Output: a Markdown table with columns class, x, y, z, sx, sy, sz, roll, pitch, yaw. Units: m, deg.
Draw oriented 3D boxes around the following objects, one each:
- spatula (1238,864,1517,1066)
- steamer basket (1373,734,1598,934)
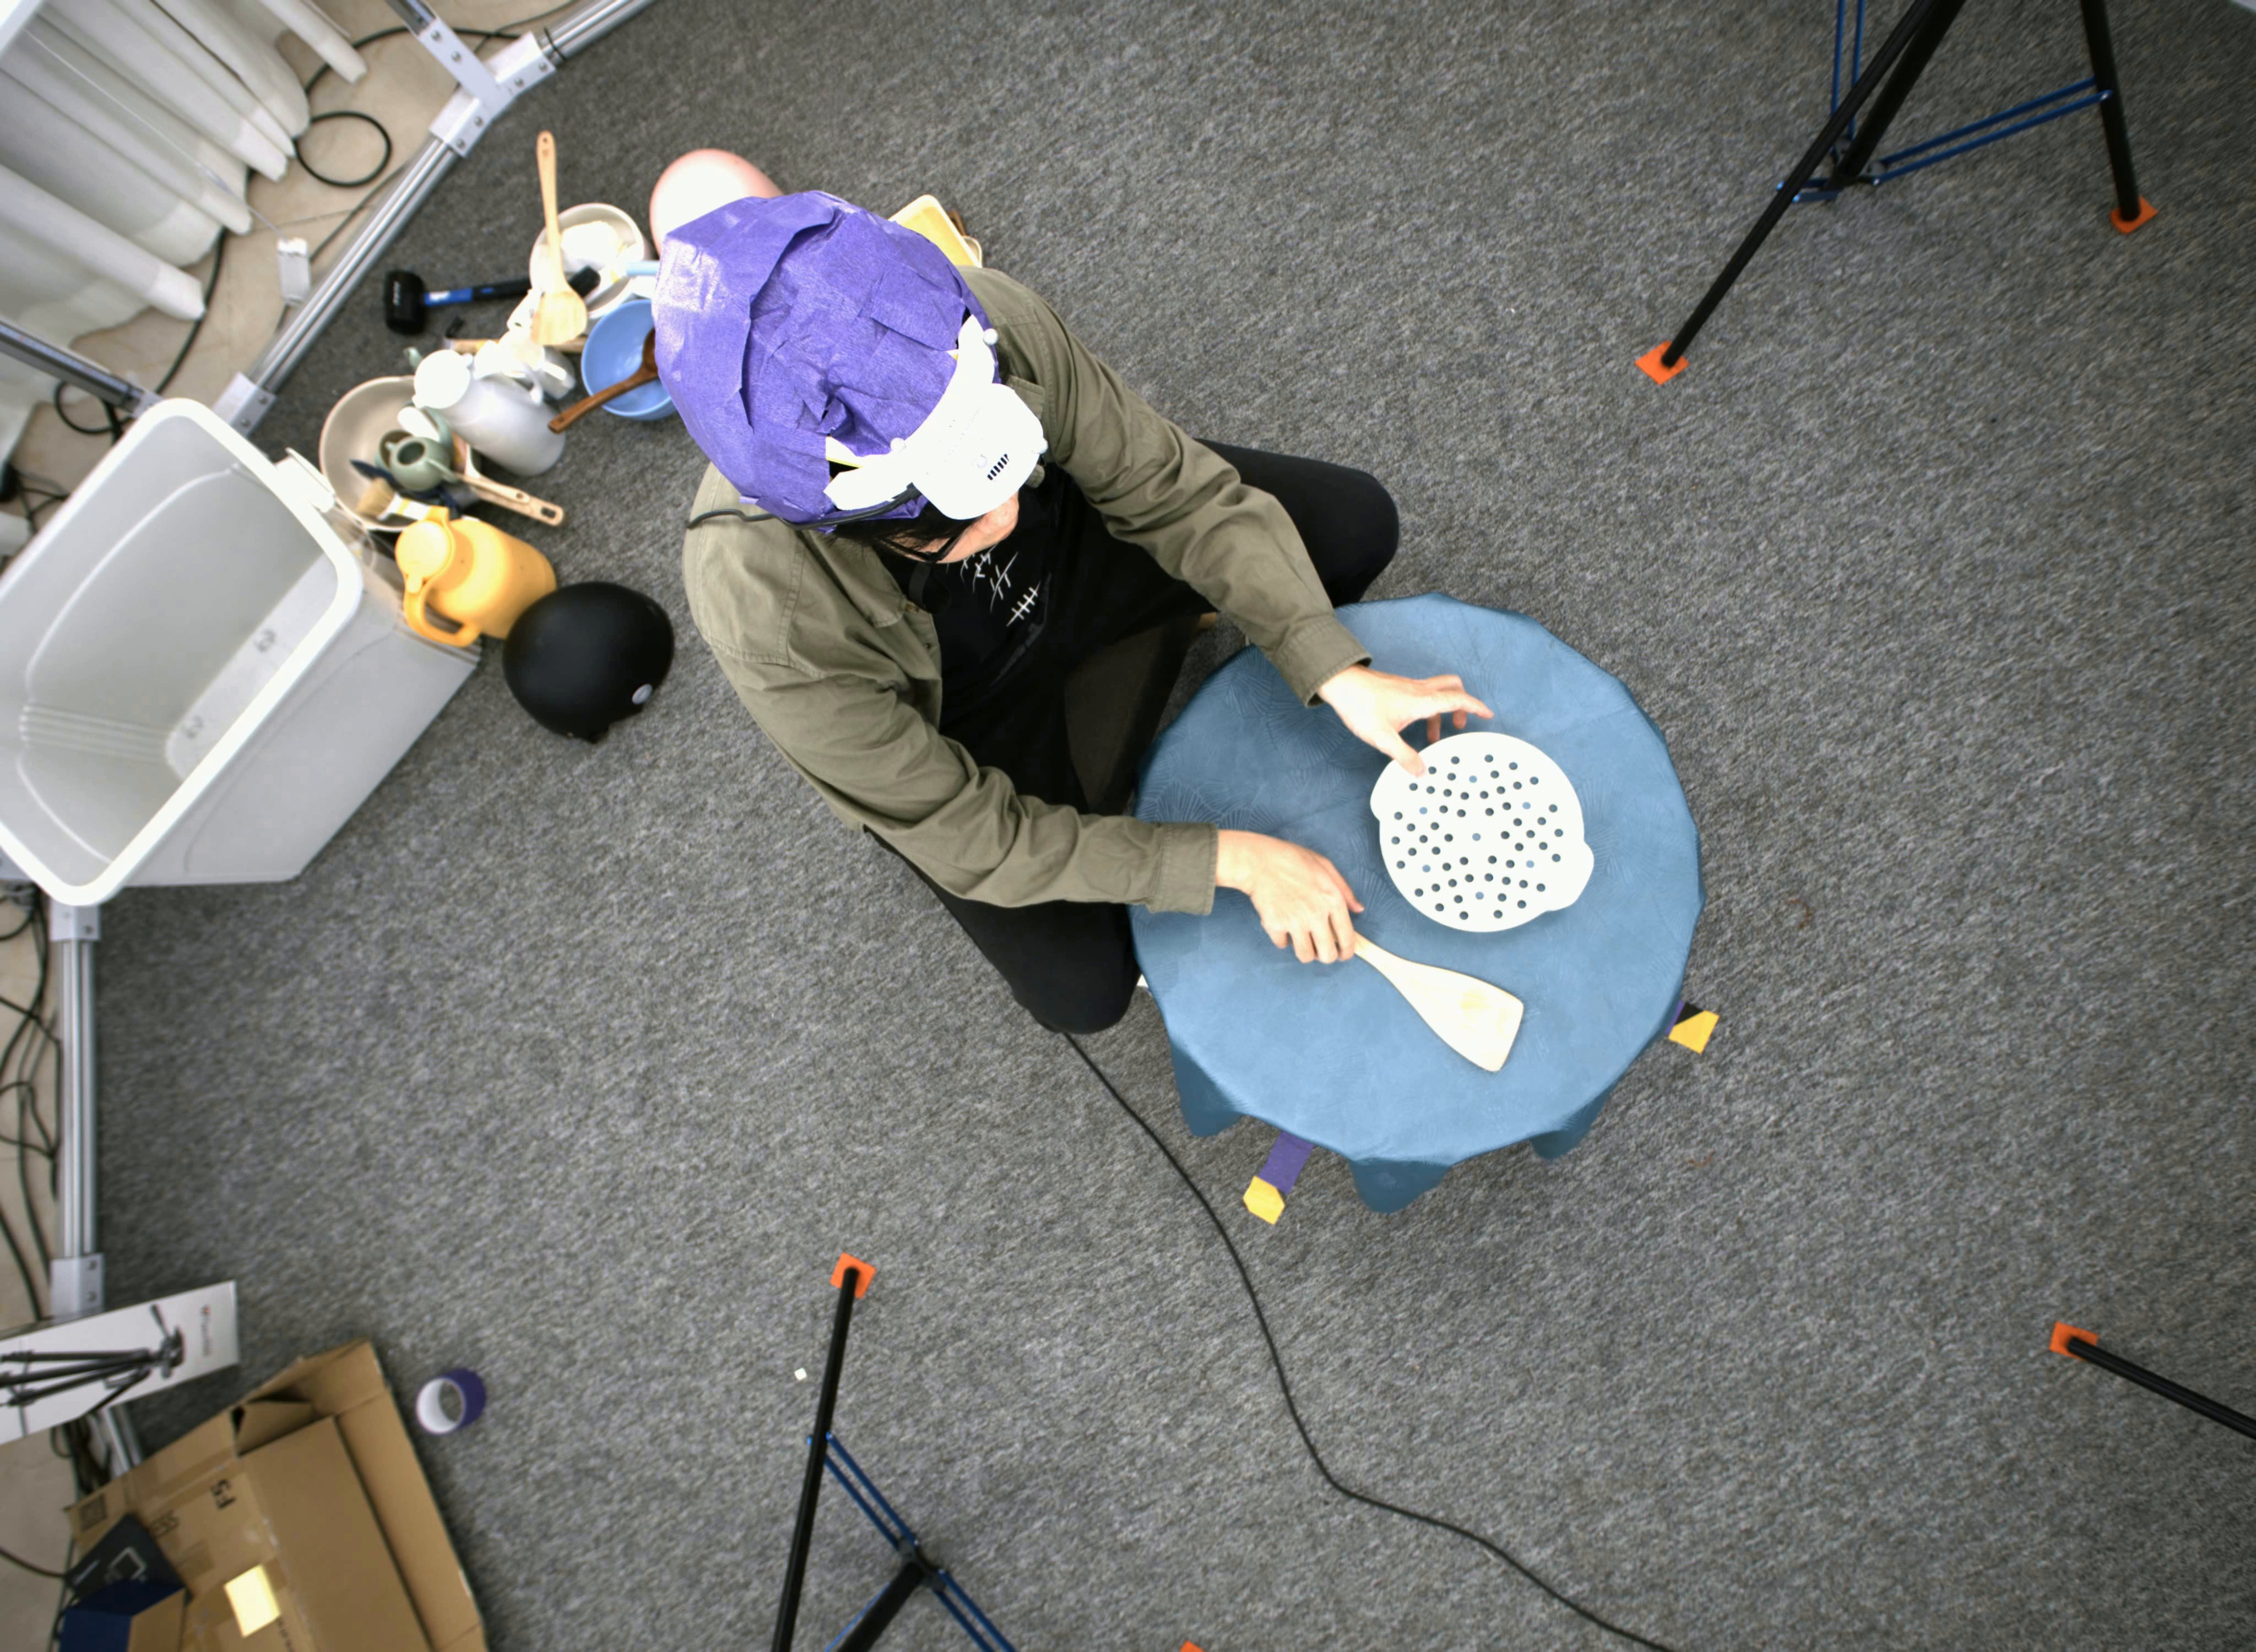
| class | x | y | z | sx | sy | sz | roll | pitch | yaw |
| --- | --- | --- | --- | --- | --- | --- | --- | --- | --- |
| spatula | 0.256 | 0.130 | 1.440 | 0.327 | 0.016 | 0.080 | 32 | 93 | 9 |
| steamer basket | 0.362 | 0.009 | 1.402 | 0.230 | 0.069 | 0.202 | 28 | 92 | 11 |
